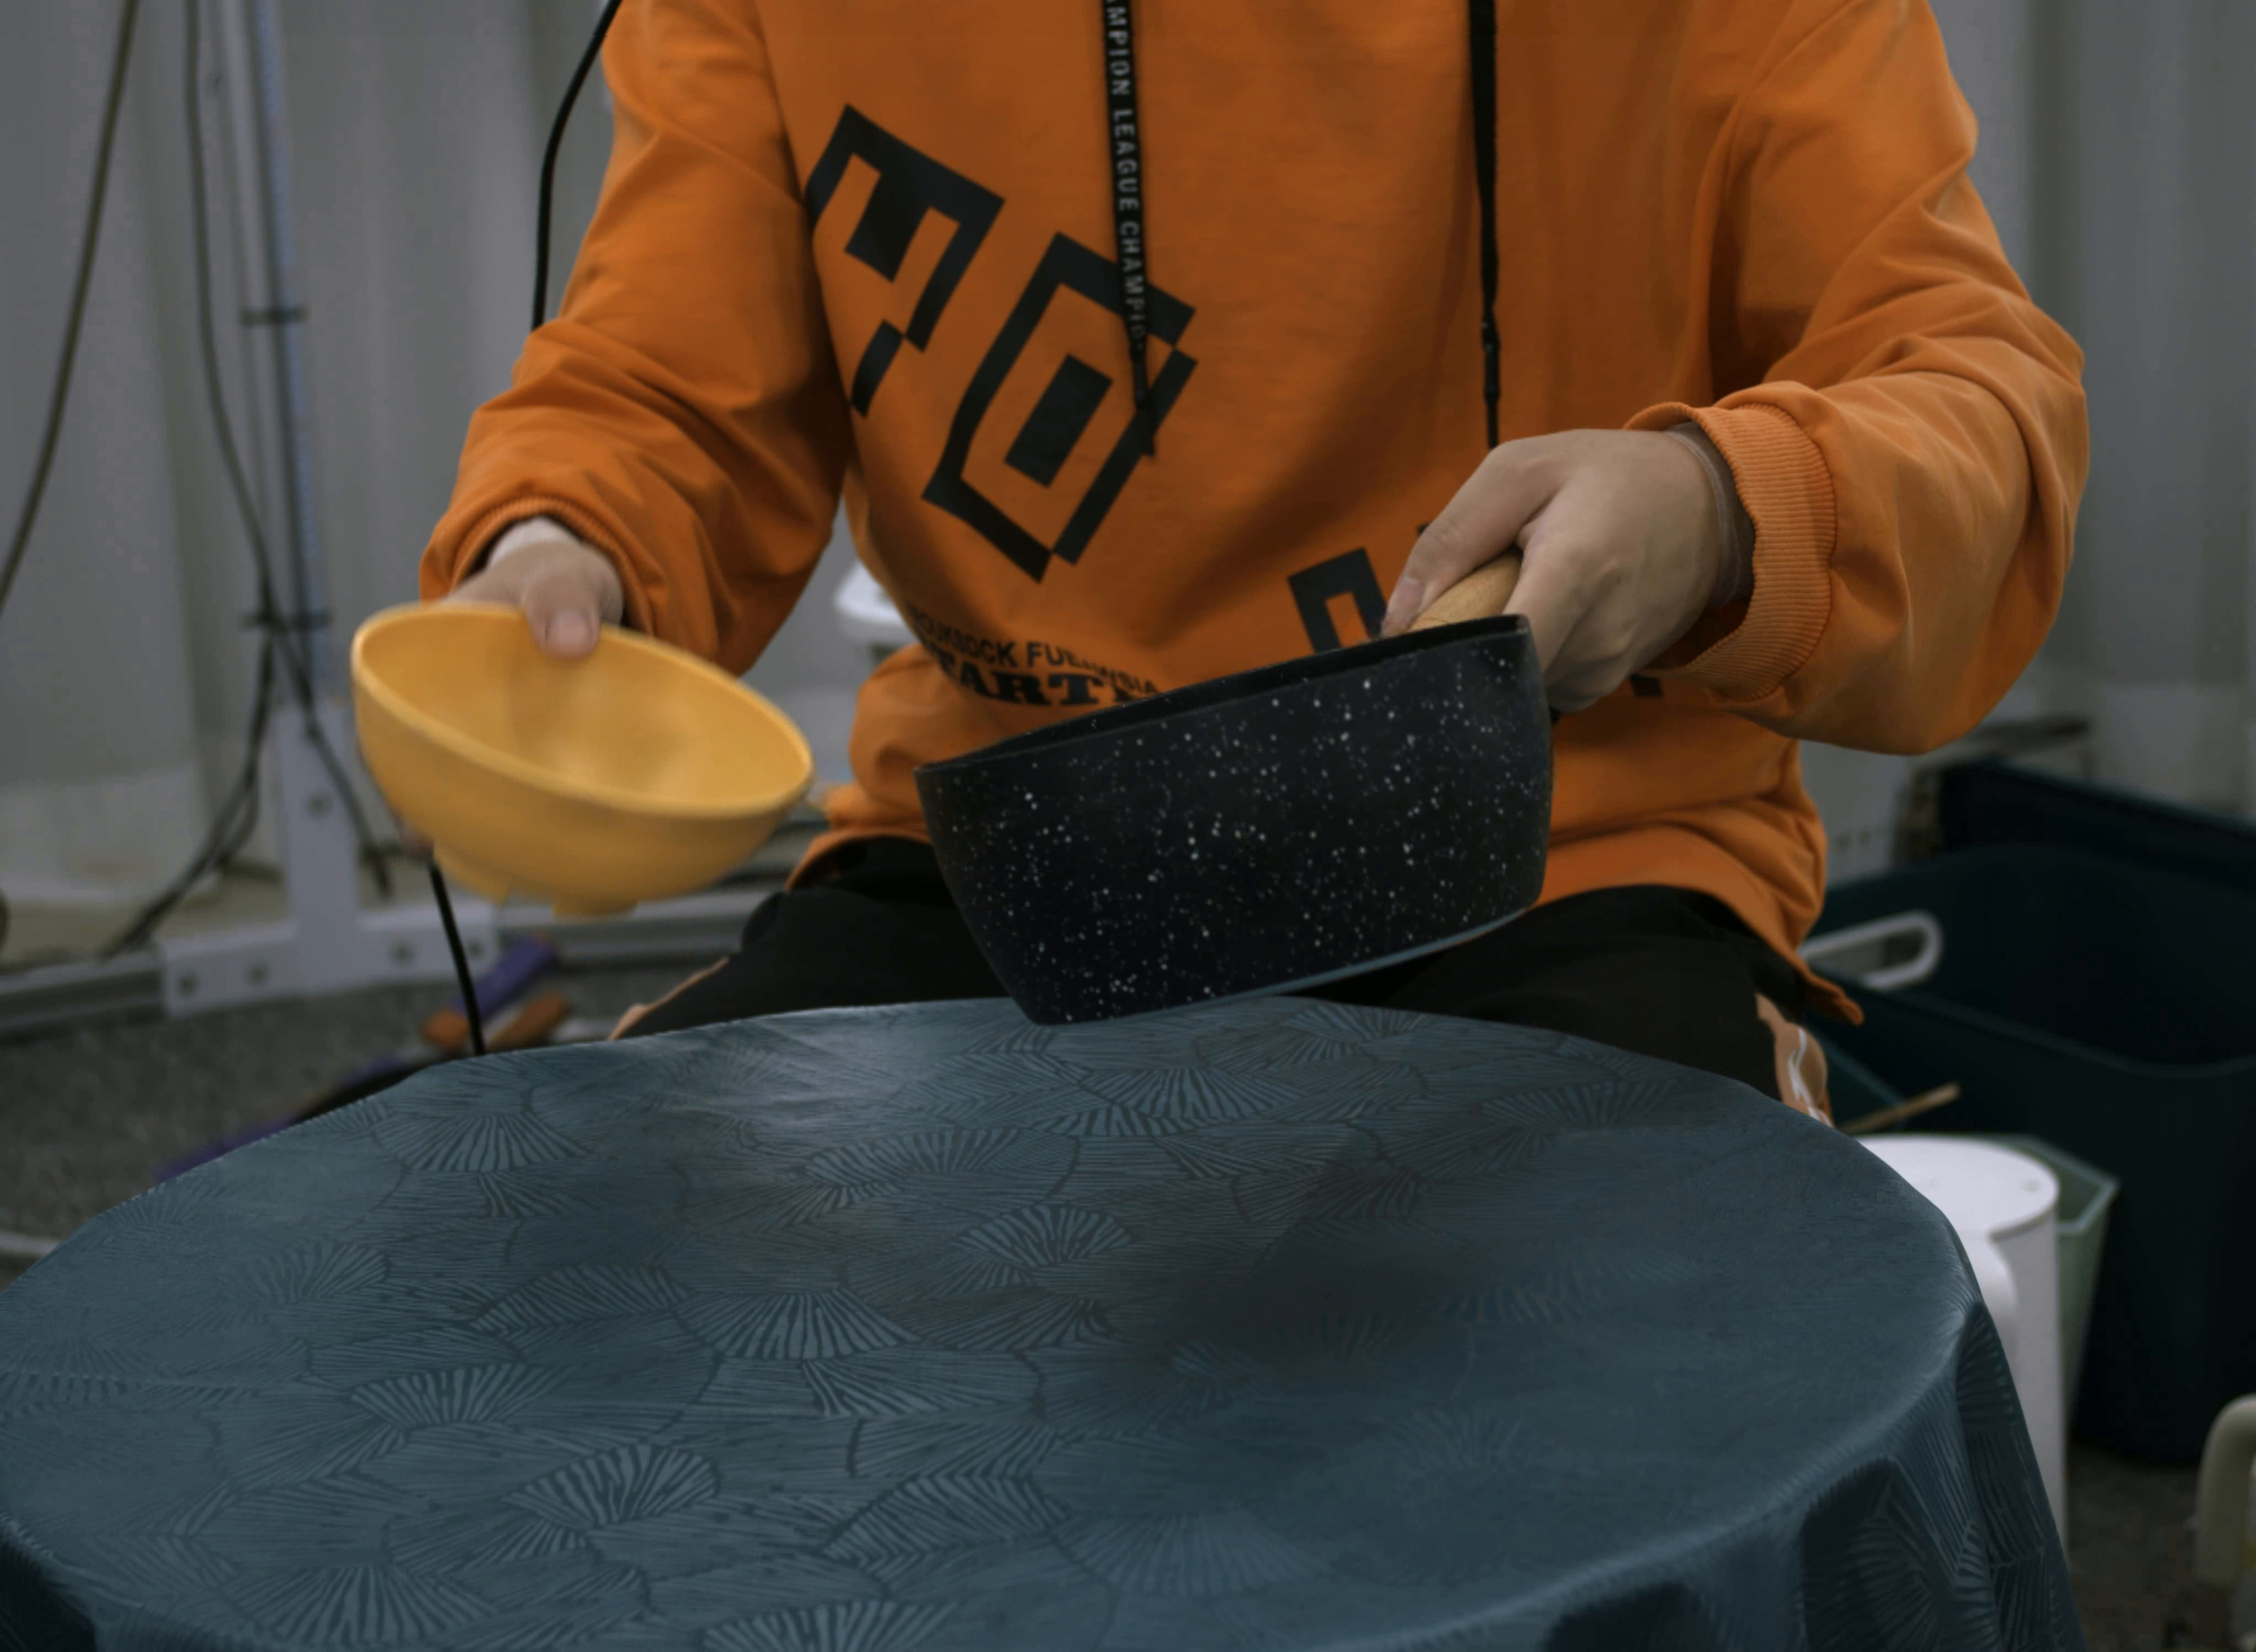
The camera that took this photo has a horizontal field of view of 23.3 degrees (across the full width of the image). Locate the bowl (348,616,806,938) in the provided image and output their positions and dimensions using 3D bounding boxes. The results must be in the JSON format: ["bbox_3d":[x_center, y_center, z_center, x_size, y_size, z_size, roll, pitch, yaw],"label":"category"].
[{"bbox_3d":[-0.175,-0.007,1.675,0.144,0.060,0.146,16,20,-6],"label":"bowl"}]

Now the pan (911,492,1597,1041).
[{"bbox_3d":[0.071,-0.024,1.655,0.207,0.108,0.343,-14,4,30],"label":"pan"}]
